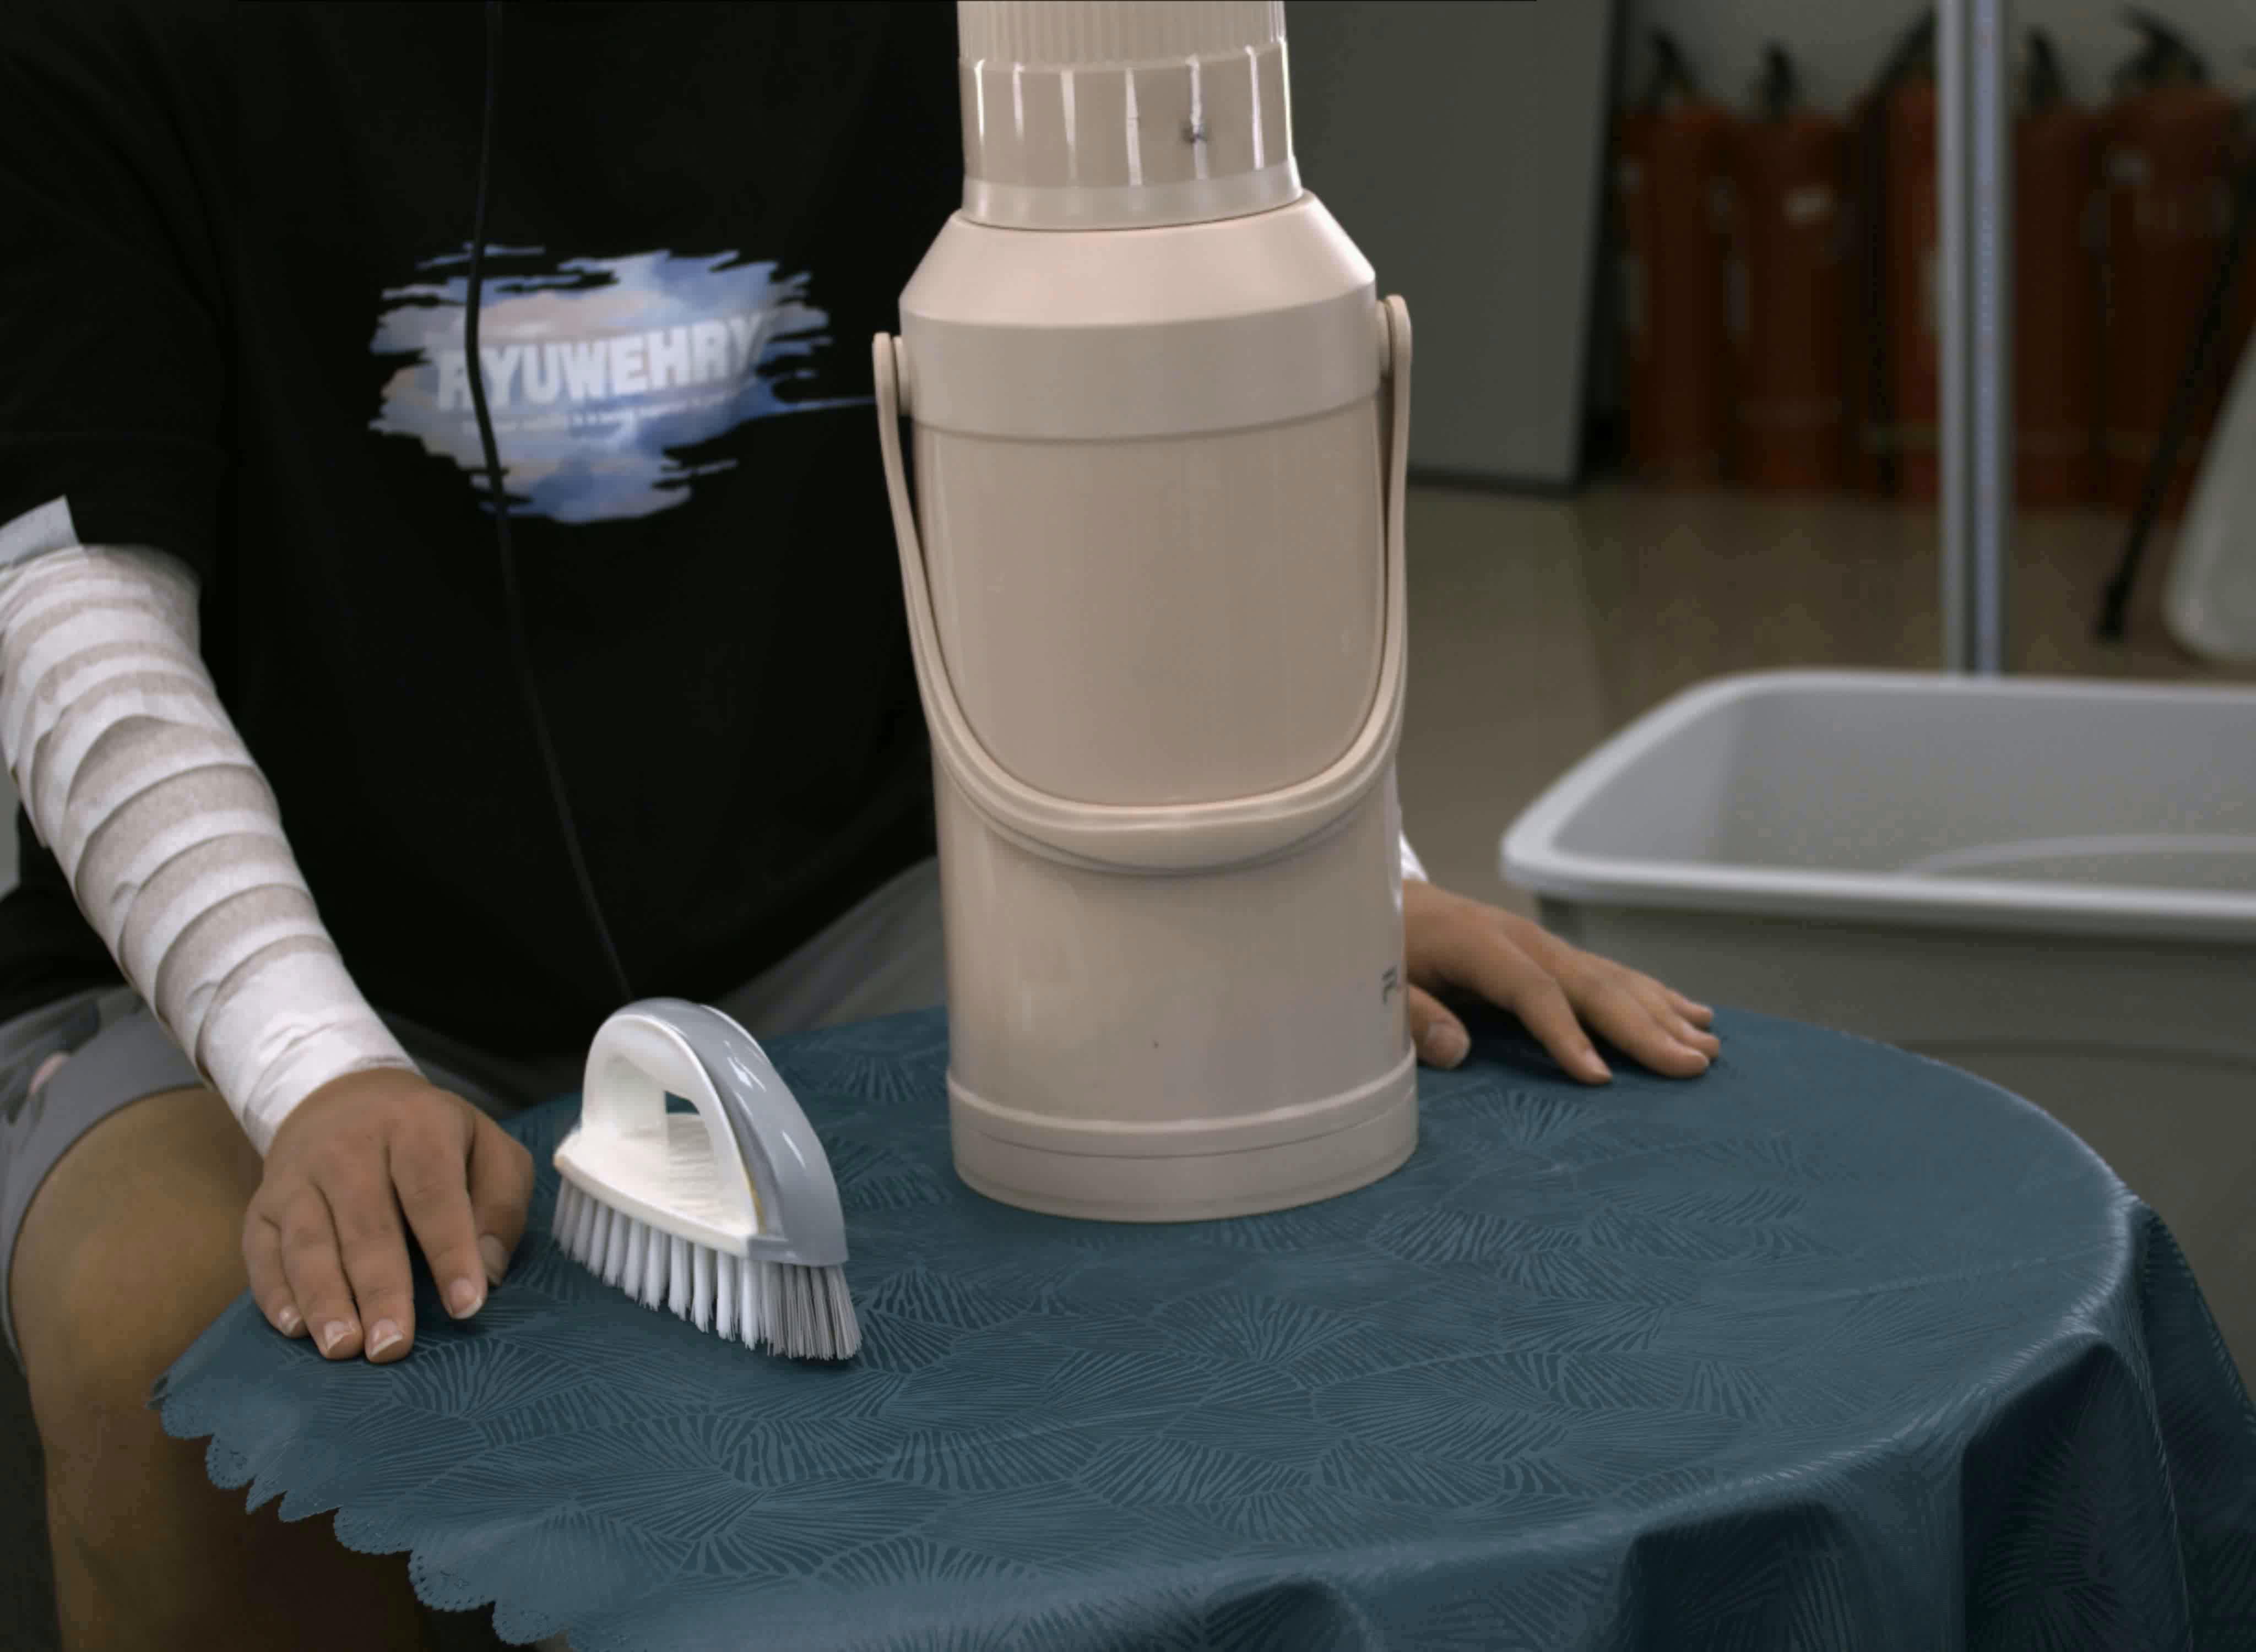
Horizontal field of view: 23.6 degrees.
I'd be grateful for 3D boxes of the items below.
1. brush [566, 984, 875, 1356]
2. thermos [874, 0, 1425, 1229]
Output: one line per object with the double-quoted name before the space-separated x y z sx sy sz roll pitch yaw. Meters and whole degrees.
"brush" -0.125 0.103 1.688 0.060 0.095 0.177 -16 19 -24
"thermos" 0.009 -0.087 1.781 0.173 0.411 0.208 -6 13 -4
